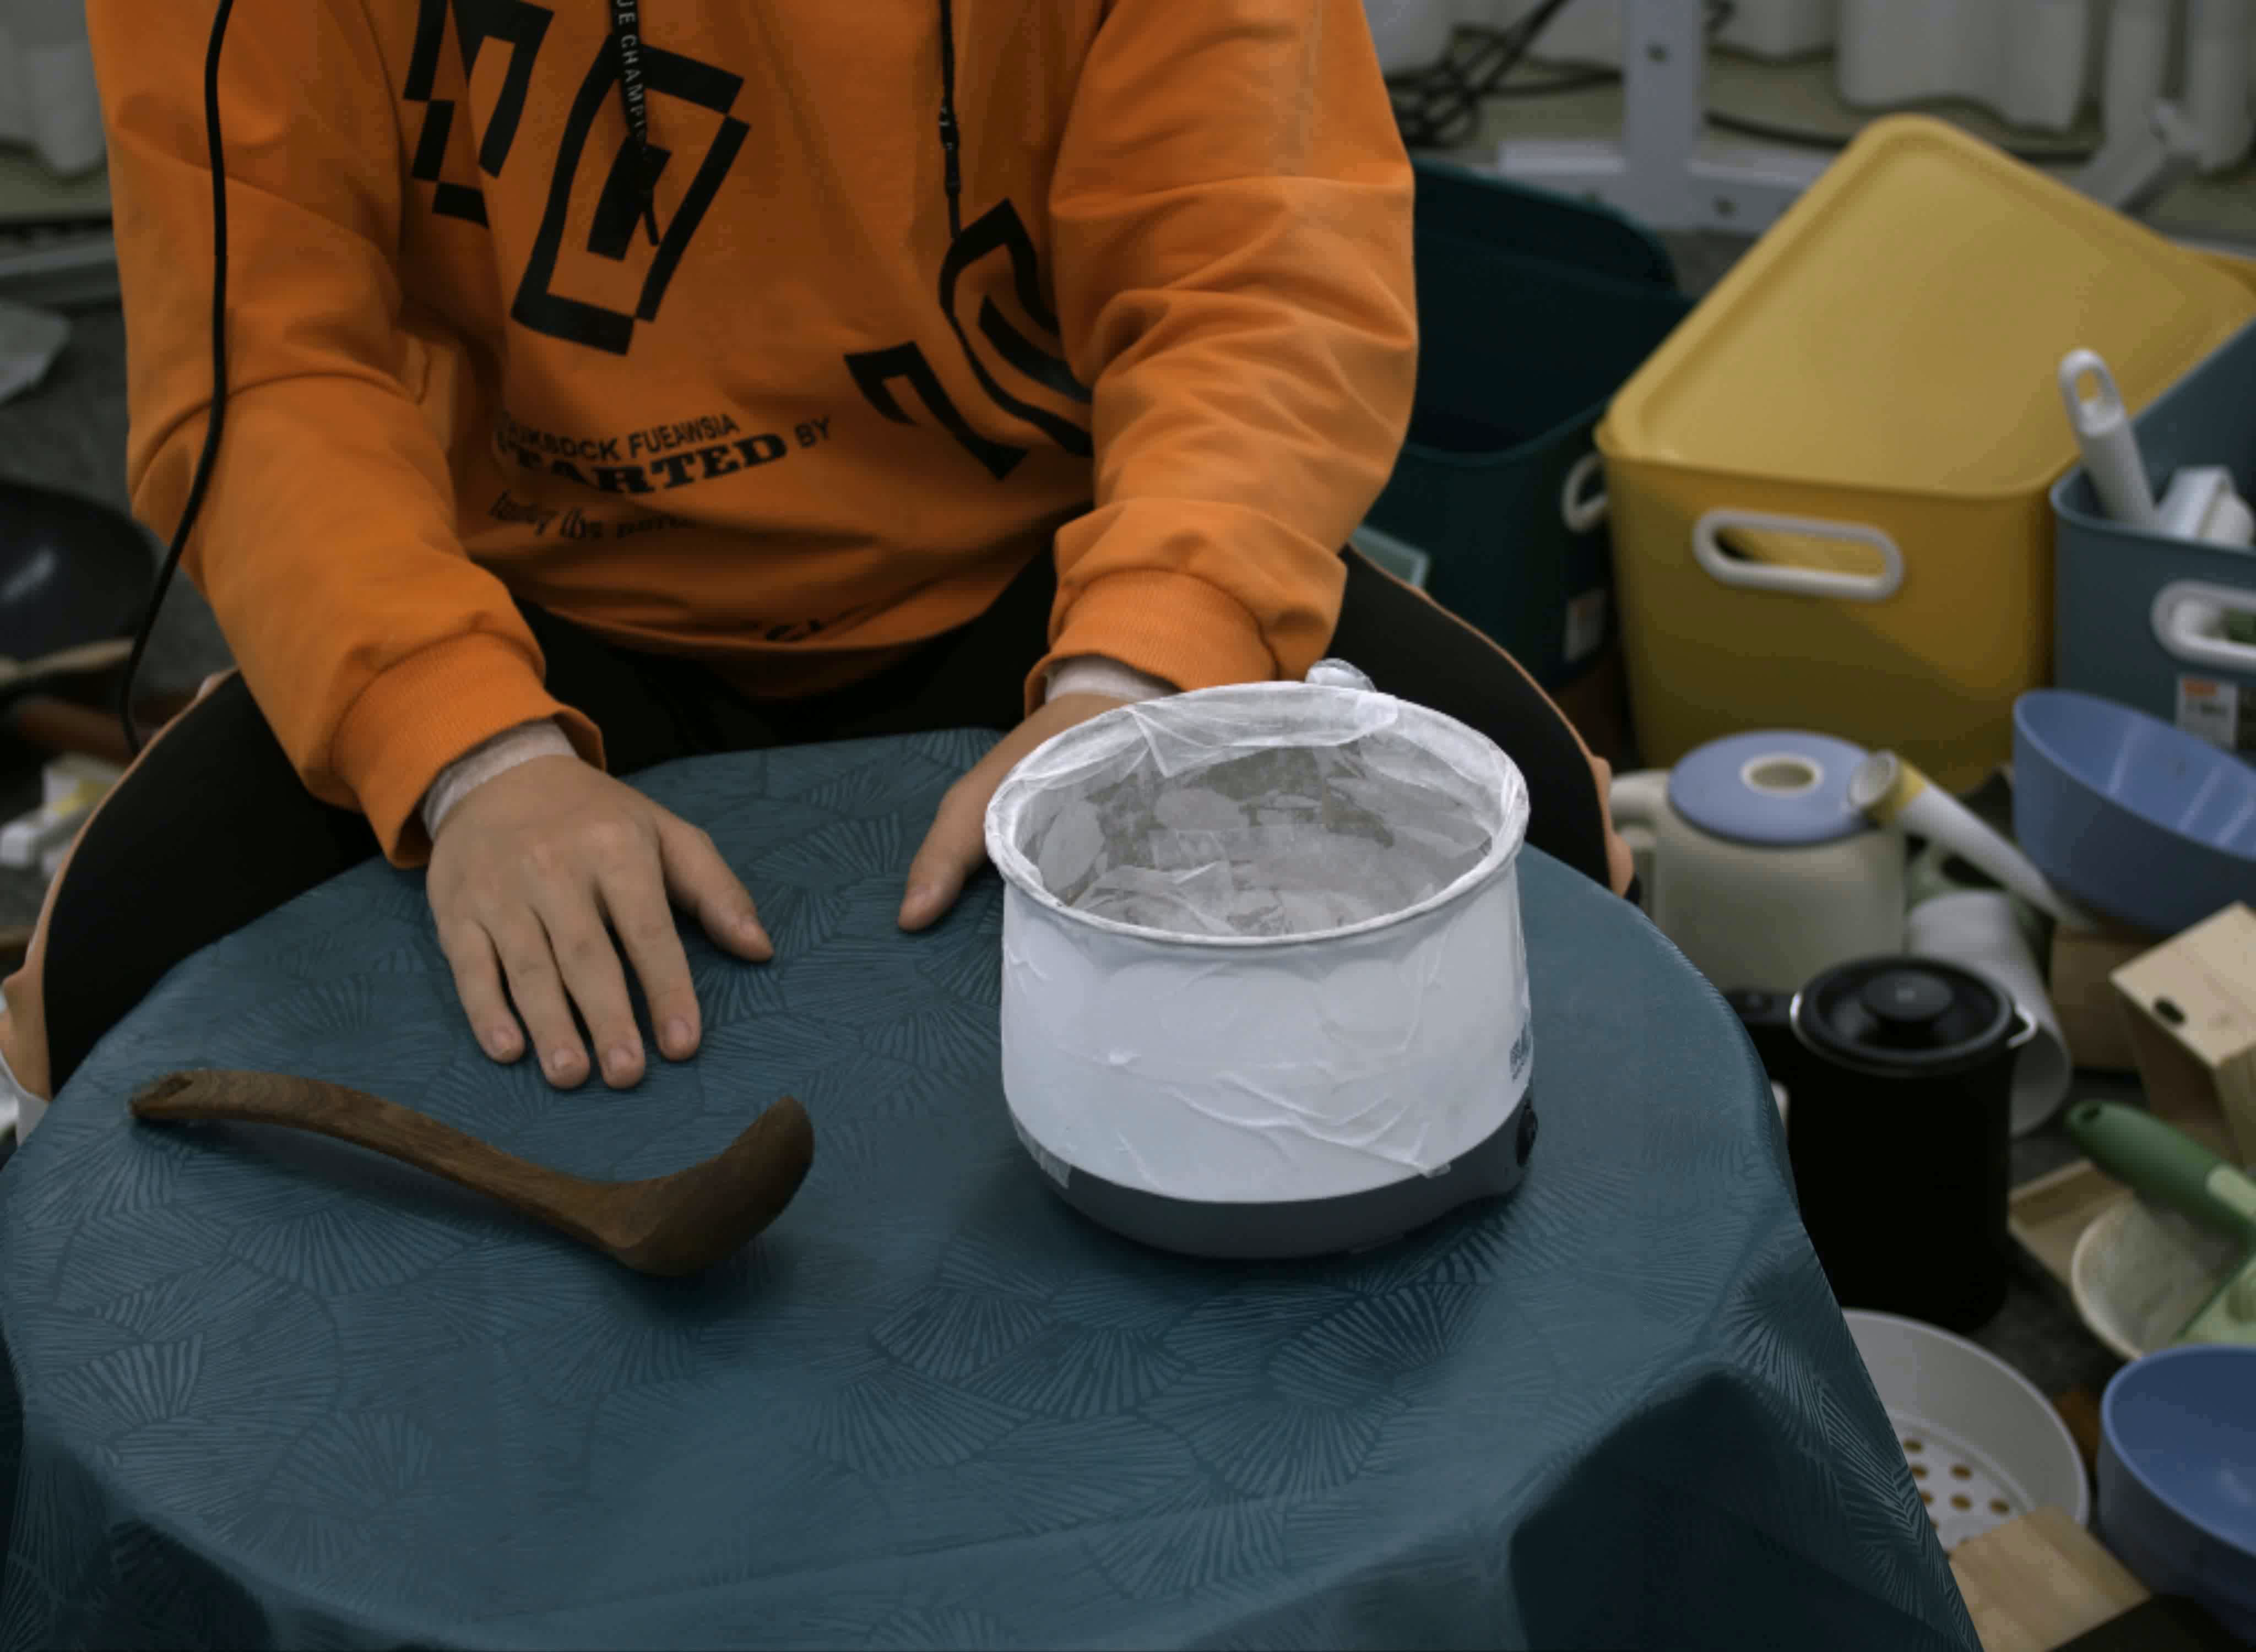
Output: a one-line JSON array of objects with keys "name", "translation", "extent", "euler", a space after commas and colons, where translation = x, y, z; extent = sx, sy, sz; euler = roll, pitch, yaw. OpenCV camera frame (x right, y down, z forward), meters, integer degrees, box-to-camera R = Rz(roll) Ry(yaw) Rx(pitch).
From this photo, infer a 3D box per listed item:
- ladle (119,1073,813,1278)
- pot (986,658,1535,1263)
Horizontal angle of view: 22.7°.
[{"name": "ladle", "translation": [-0.226, 0.094, 1.862], "extent": [0.272, 0.070, 0.077], "euler": [14, 27, 28]}, {"name": "pot", "translation": [0.052, 0.037, 1.874], "extent": [0.177, 0.135, 0.238], "euler": [5, 28, 14]}]
